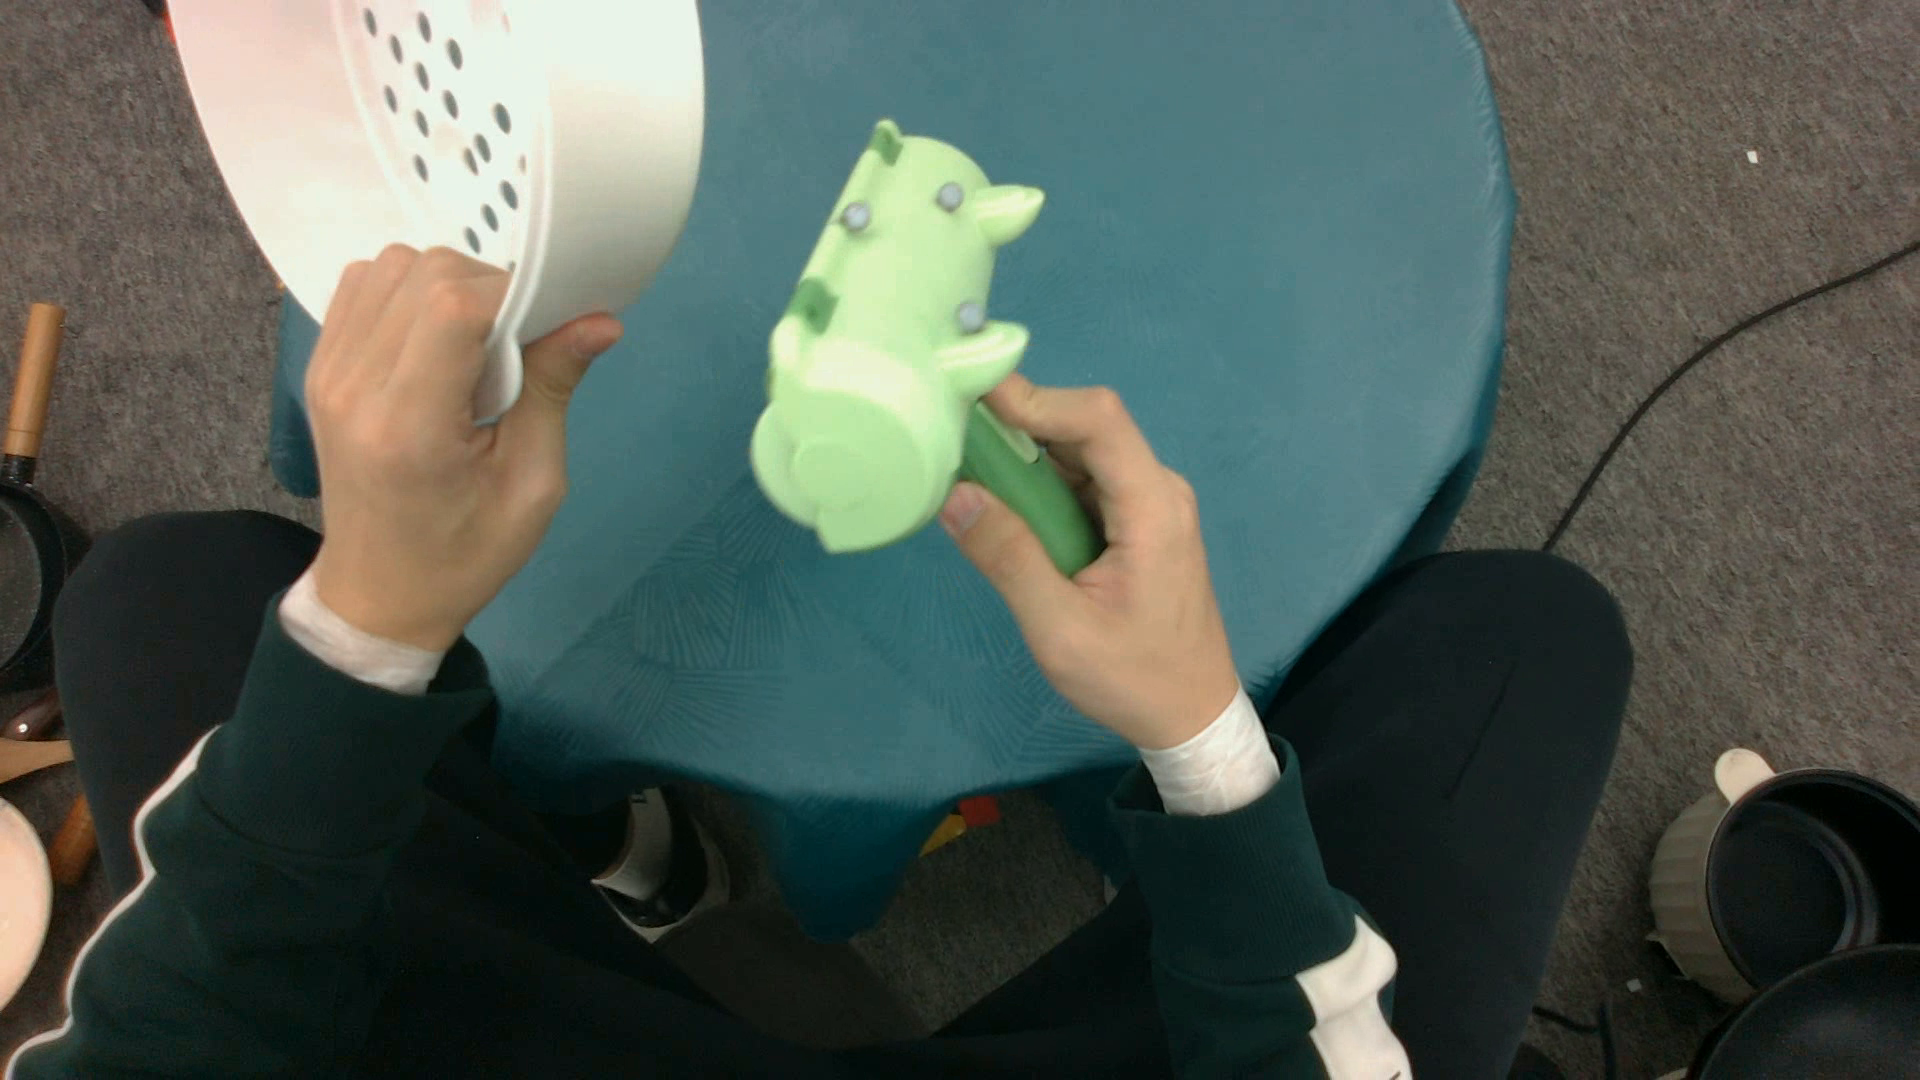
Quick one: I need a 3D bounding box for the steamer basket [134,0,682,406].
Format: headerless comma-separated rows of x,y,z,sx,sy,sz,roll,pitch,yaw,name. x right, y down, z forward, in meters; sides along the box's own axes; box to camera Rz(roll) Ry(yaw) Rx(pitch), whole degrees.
-0.172,-0.160,0.419,0.201,0.069,0.230,-7,104,41,steamer basket

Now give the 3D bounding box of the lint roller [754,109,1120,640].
0.018,-0.044,0.450,0.082,0.199,0.183,-35,114,23,lint roller
